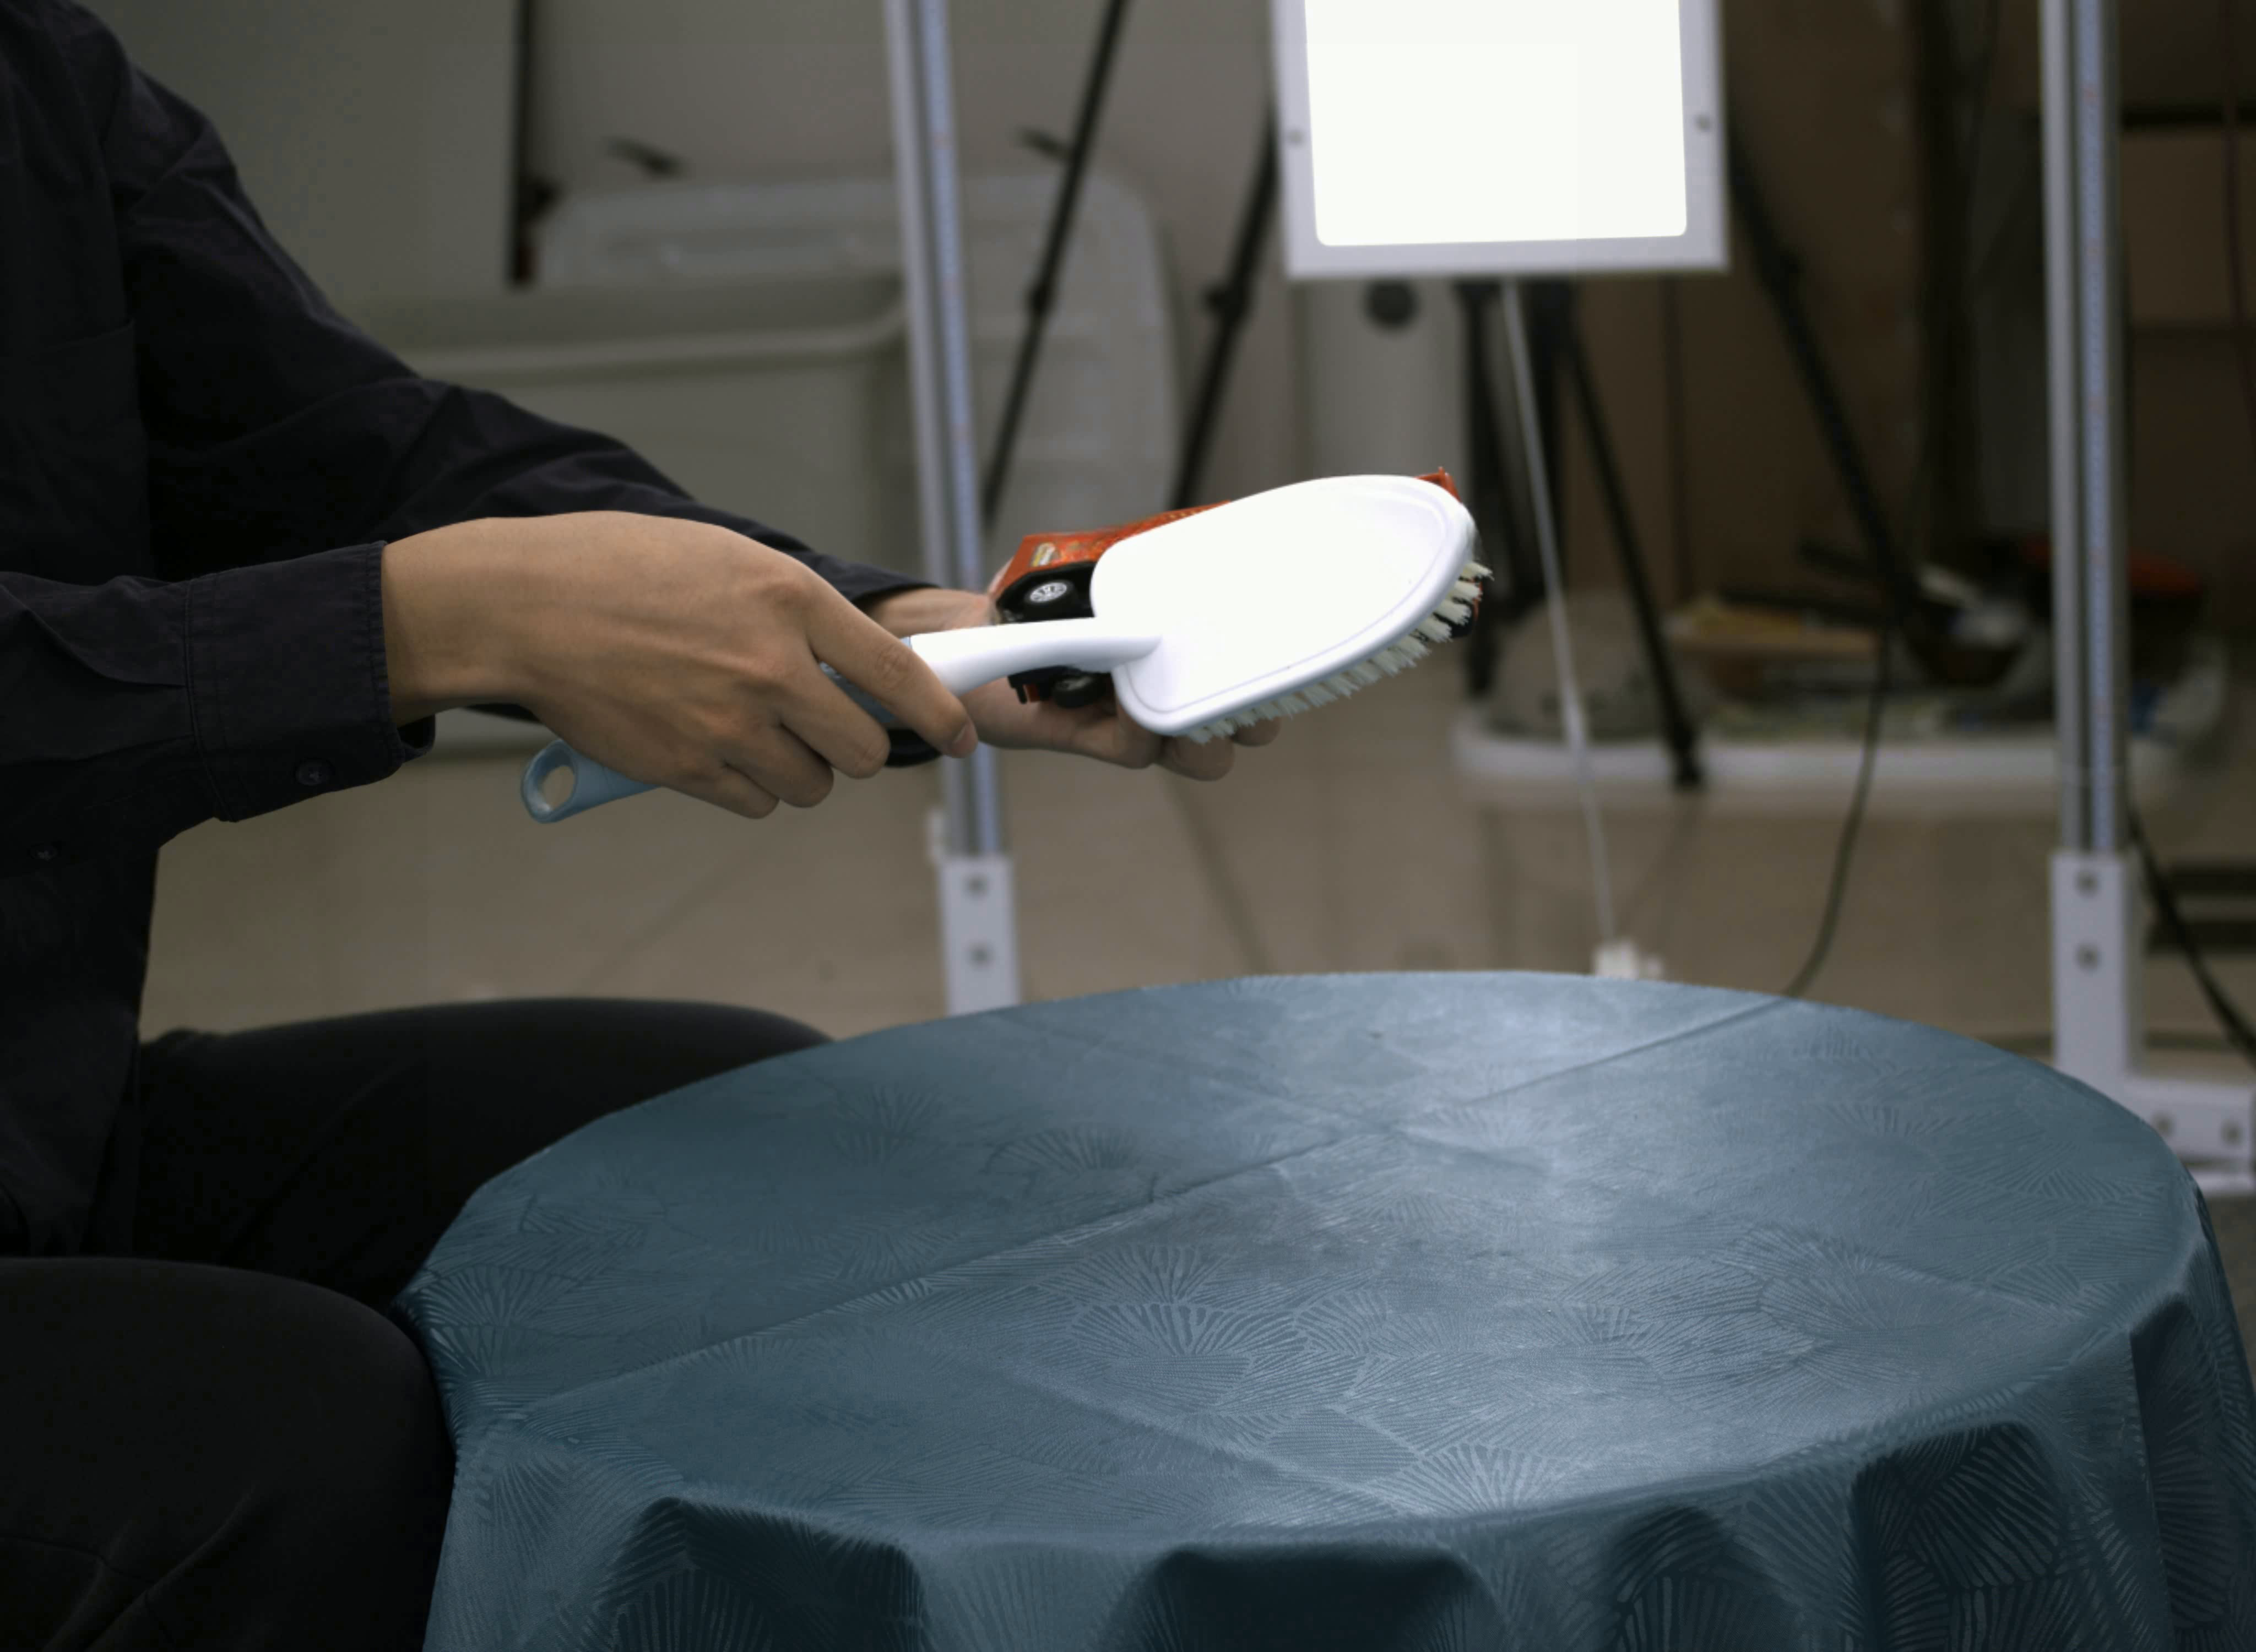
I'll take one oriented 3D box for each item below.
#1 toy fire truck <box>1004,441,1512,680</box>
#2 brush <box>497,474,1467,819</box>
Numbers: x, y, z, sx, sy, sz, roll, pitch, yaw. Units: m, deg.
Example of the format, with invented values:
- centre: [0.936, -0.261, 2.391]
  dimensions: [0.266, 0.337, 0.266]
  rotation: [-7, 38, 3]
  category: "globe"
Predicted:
- centre: [0.045, -0.089, 1.846]
  dimensions: [0.170, 0.054, 0.069]
  rotation: [-9, 28, 18]
  category: "toy fire truck"
- centre: [-0.047, -0.053, 1.803]
  dimensions: [0.325, 0.084, 0.083]
  rotation: [-16, 41, 4]
  category: "brush"
